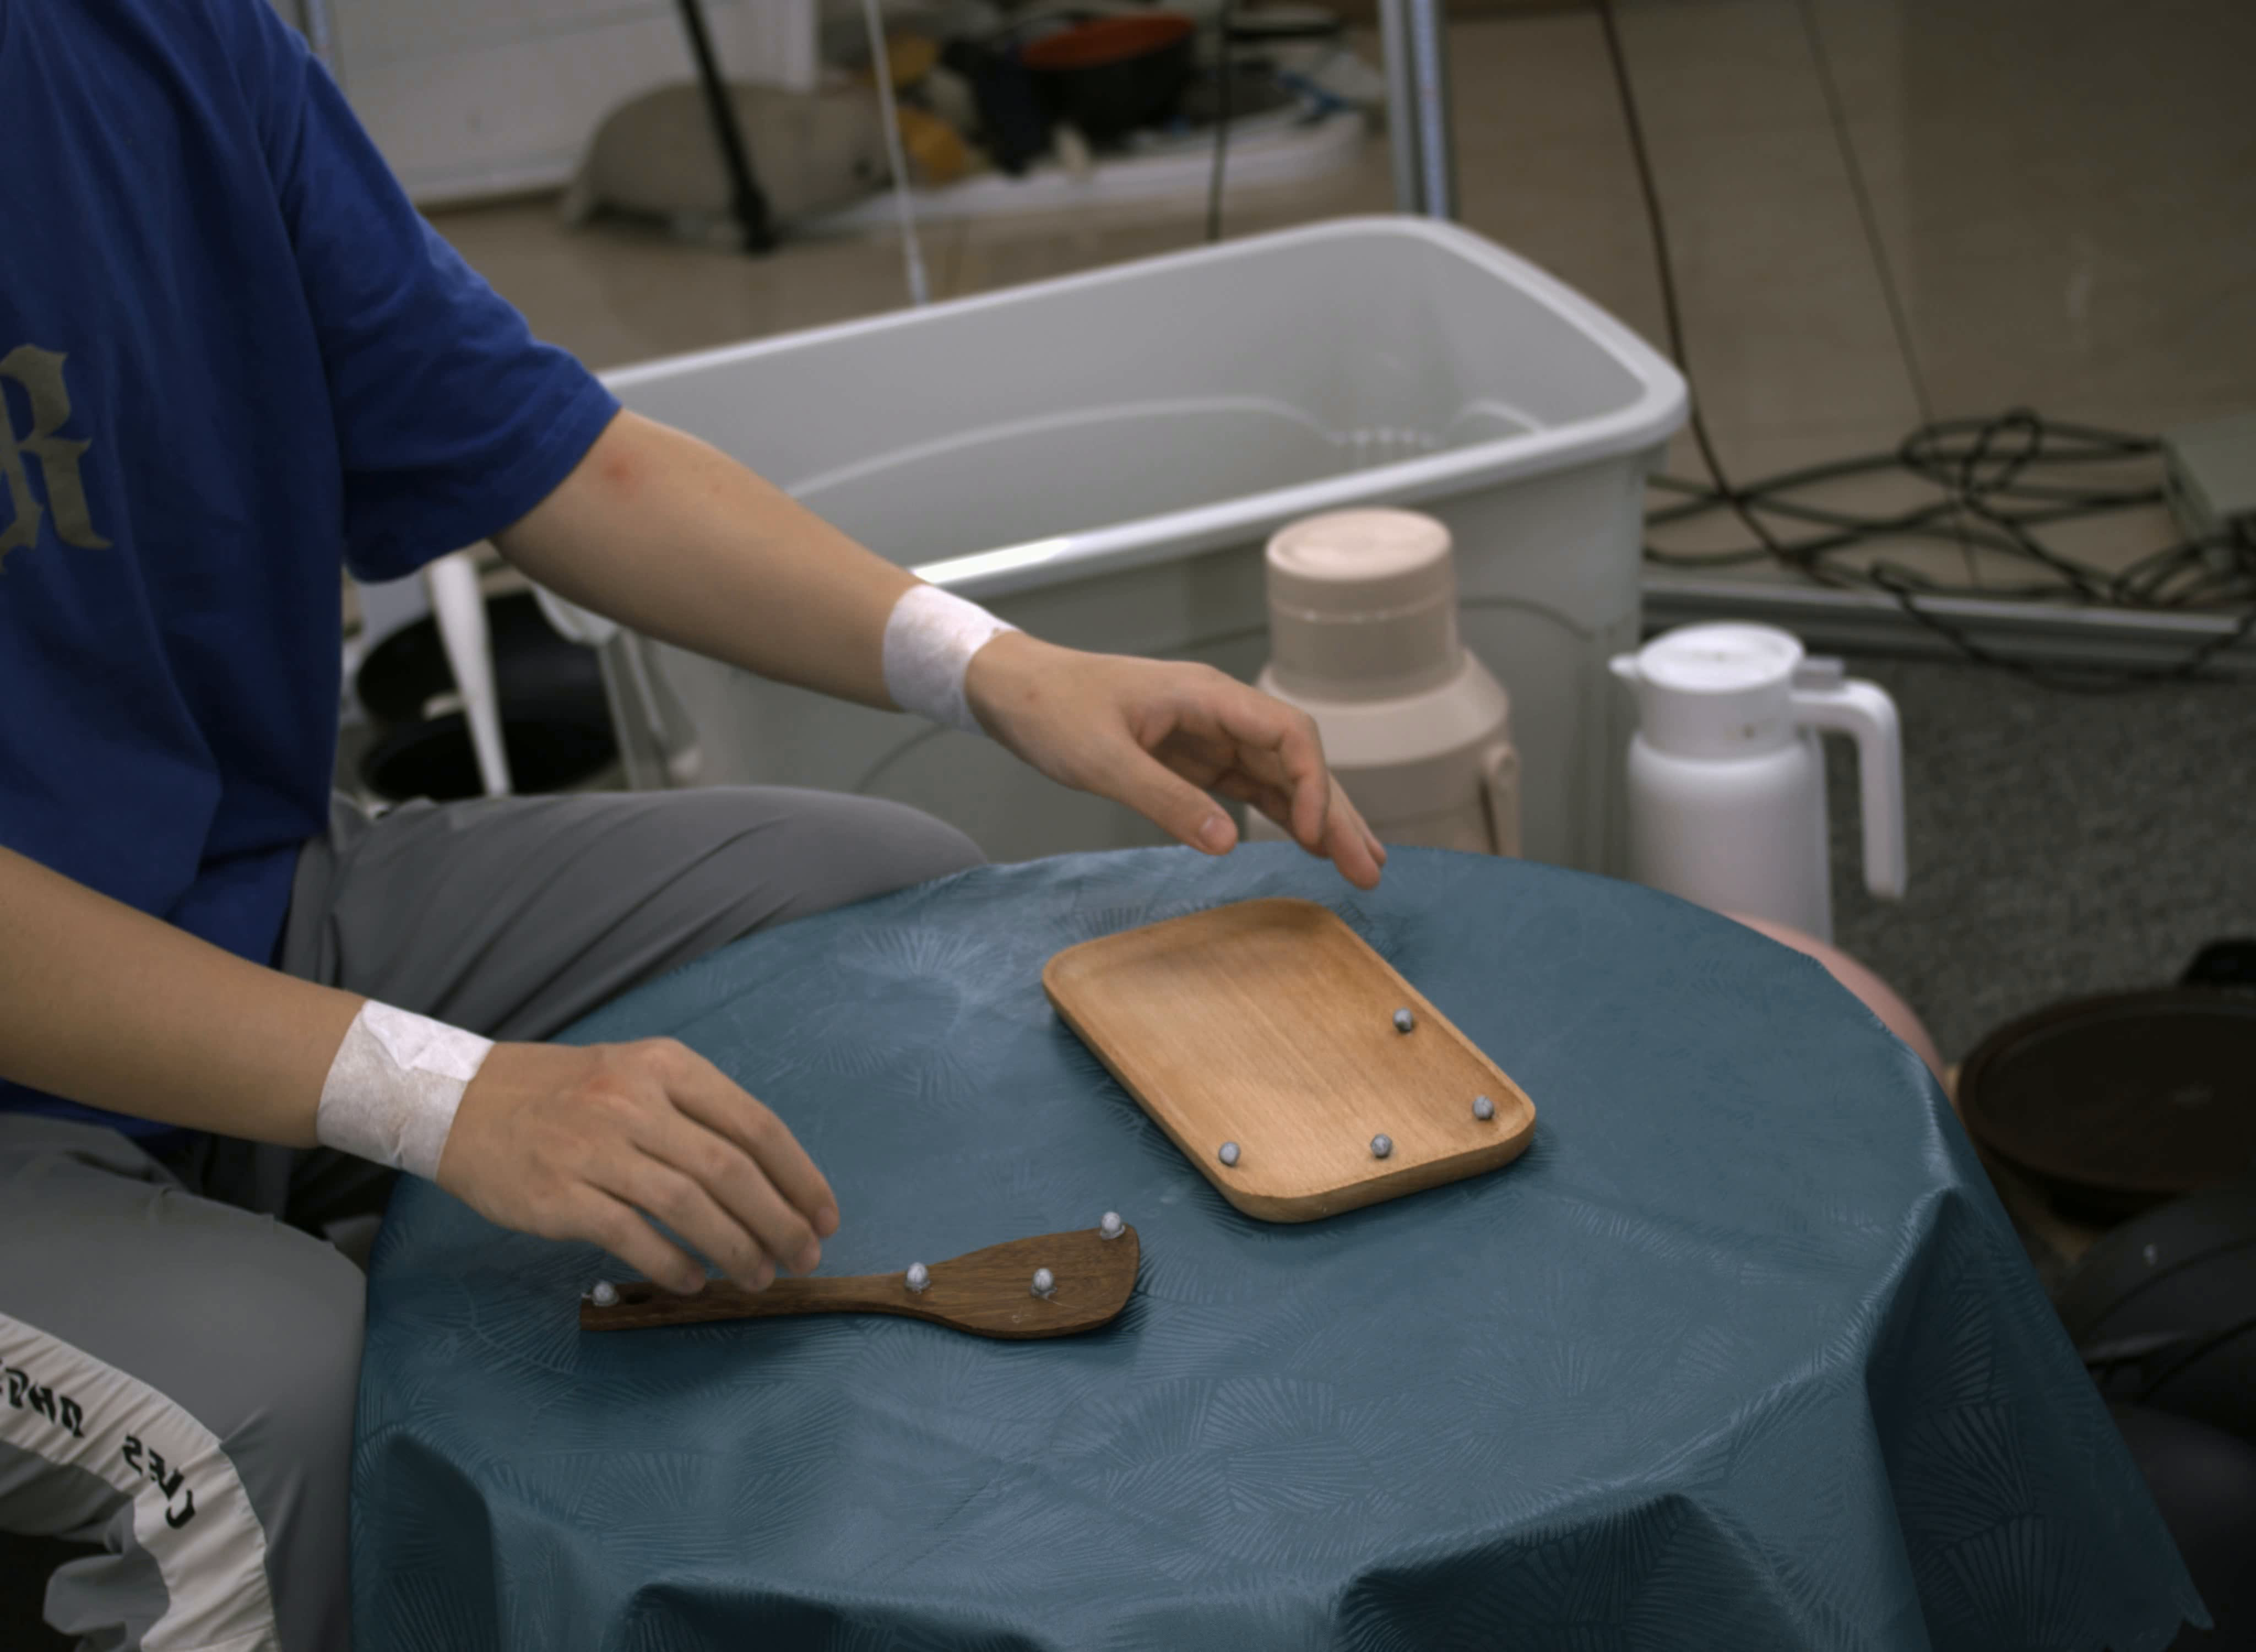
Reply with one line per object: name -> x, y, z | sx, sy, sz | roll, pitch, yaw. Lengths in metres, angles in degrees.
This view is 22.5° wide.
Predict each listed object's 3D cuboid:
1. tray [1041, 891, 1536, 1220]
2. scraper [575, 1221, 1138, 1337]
tray -> 0.060, 0.088, 2.221 | 0.130, 0.023, 0.247 | -12, 24, -17
scraper -> -0.100, 0.172, 2.091 | 0.211, 0.011, 0.075 | -4, 24, 8
